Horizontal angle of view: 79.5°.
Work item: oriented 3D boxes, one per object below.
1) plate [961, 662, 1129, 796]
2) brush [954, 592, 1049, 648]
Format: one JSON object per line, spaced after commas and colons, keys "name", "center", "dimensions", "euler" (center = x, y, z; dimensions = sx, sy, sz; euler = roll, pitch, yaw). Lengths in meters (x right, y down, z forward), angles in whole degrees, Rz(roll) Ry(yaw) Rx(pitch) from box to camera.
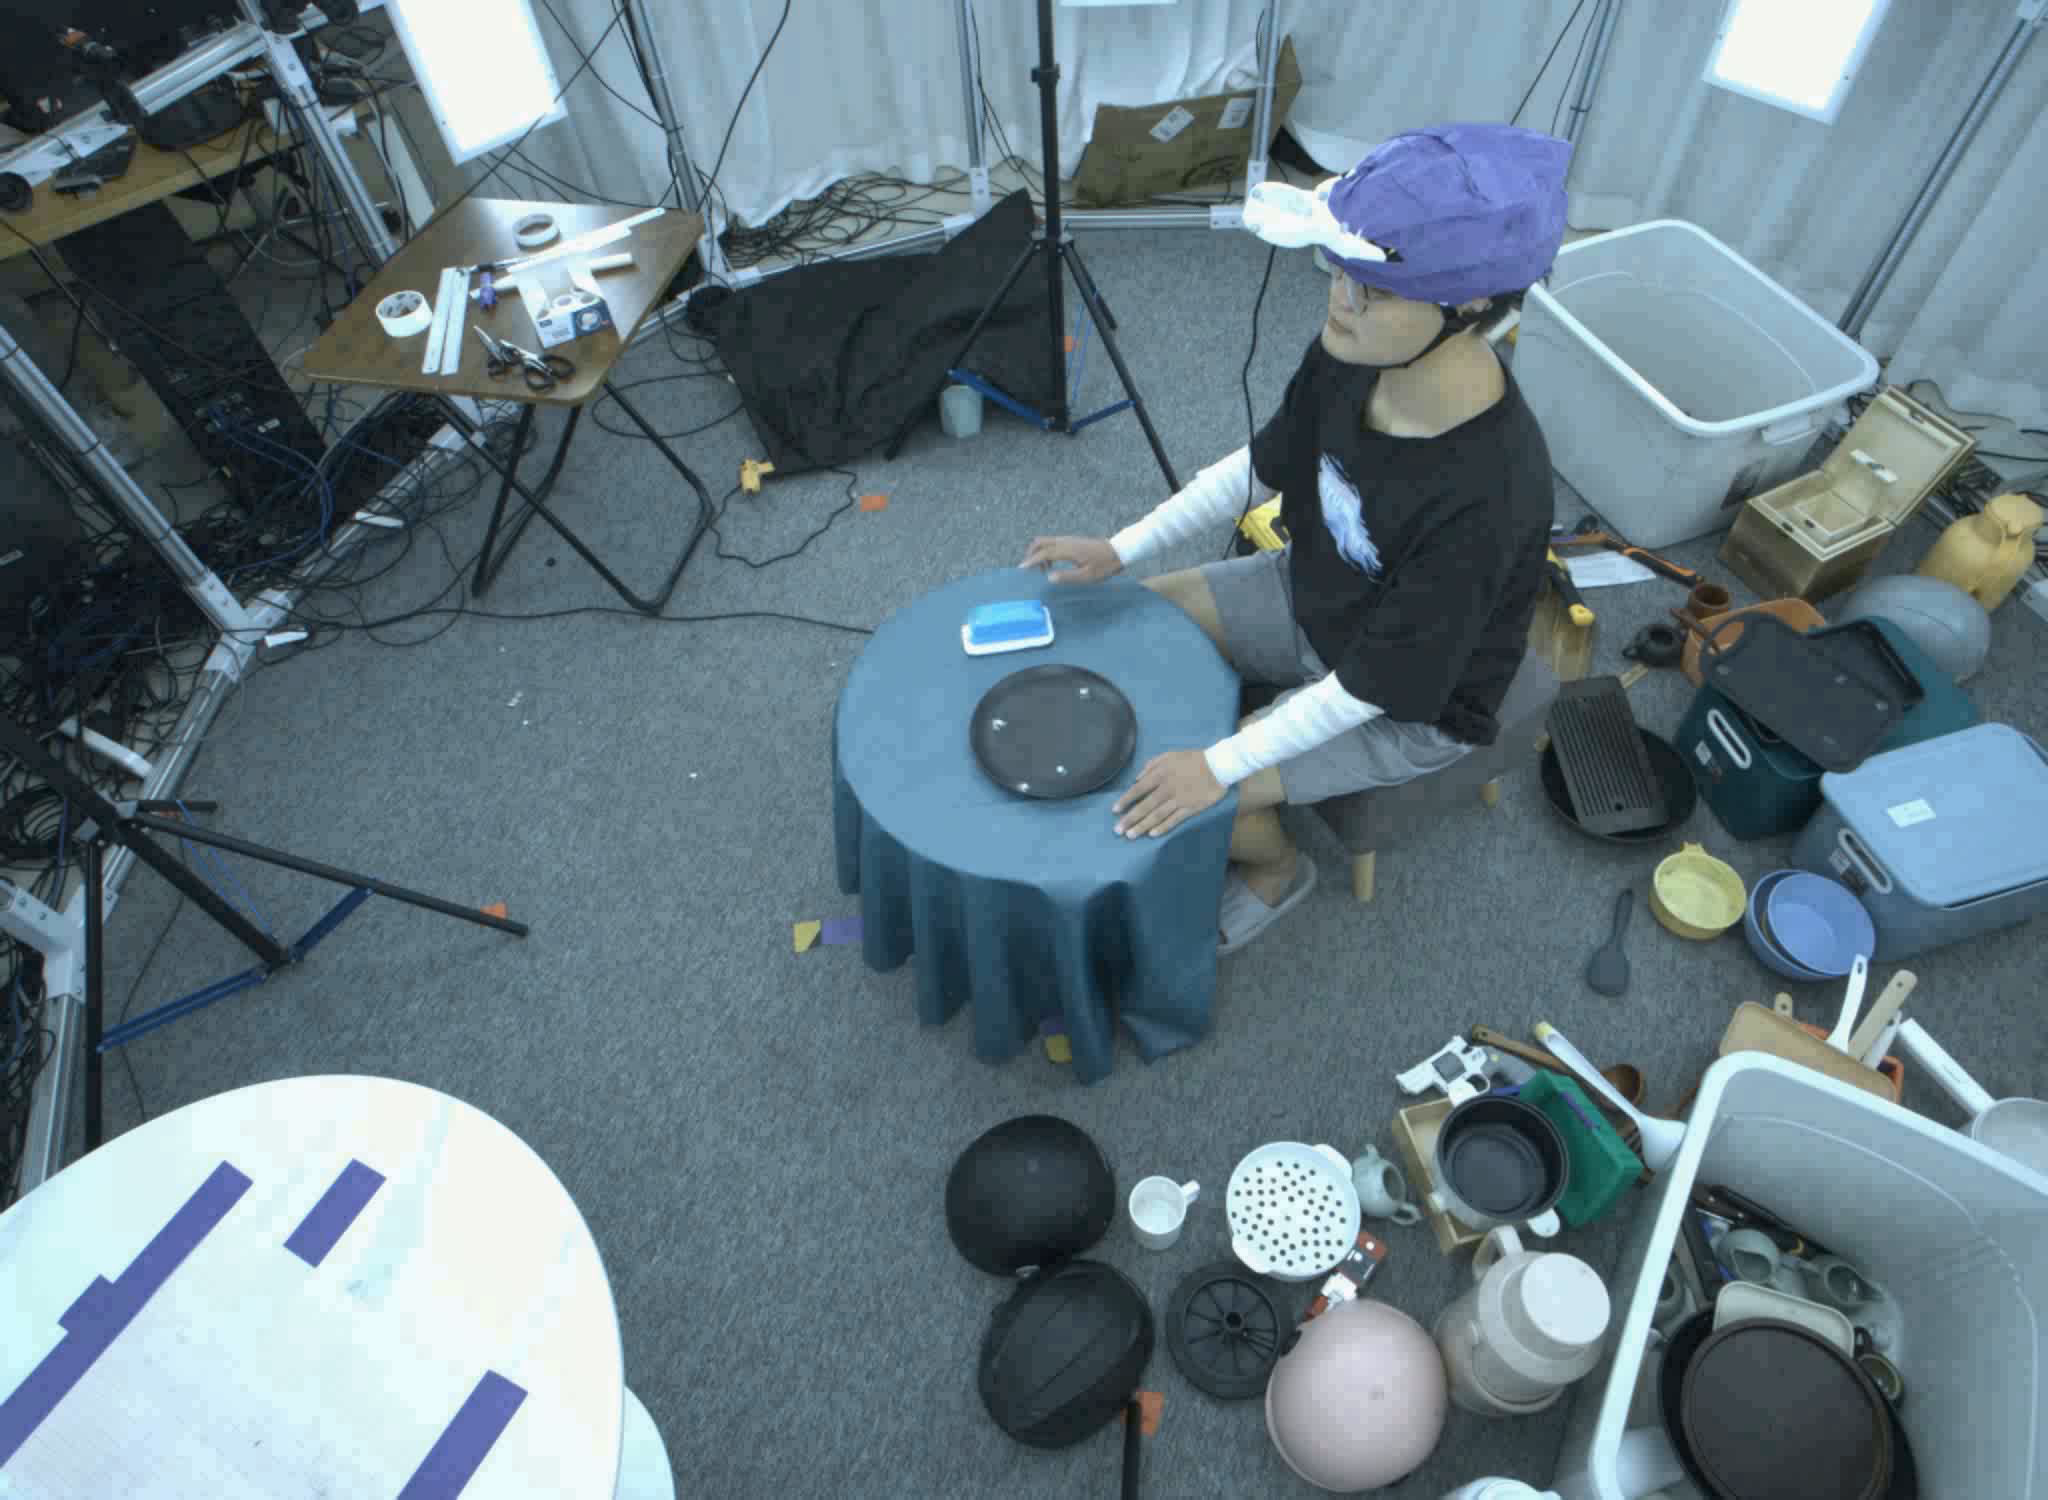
{"name": "plate", "center": [0.030, -0.029, 1.783], "dimensions": [0.244, 0.024, 0.242], "euler": [-1, 54, 2]}
{"name": "brush", "center": [-0.037, -0.208, 1.889], "dimensions": [0.144, 0.056, 0.083], "euler": [-12, 59, -2]}
